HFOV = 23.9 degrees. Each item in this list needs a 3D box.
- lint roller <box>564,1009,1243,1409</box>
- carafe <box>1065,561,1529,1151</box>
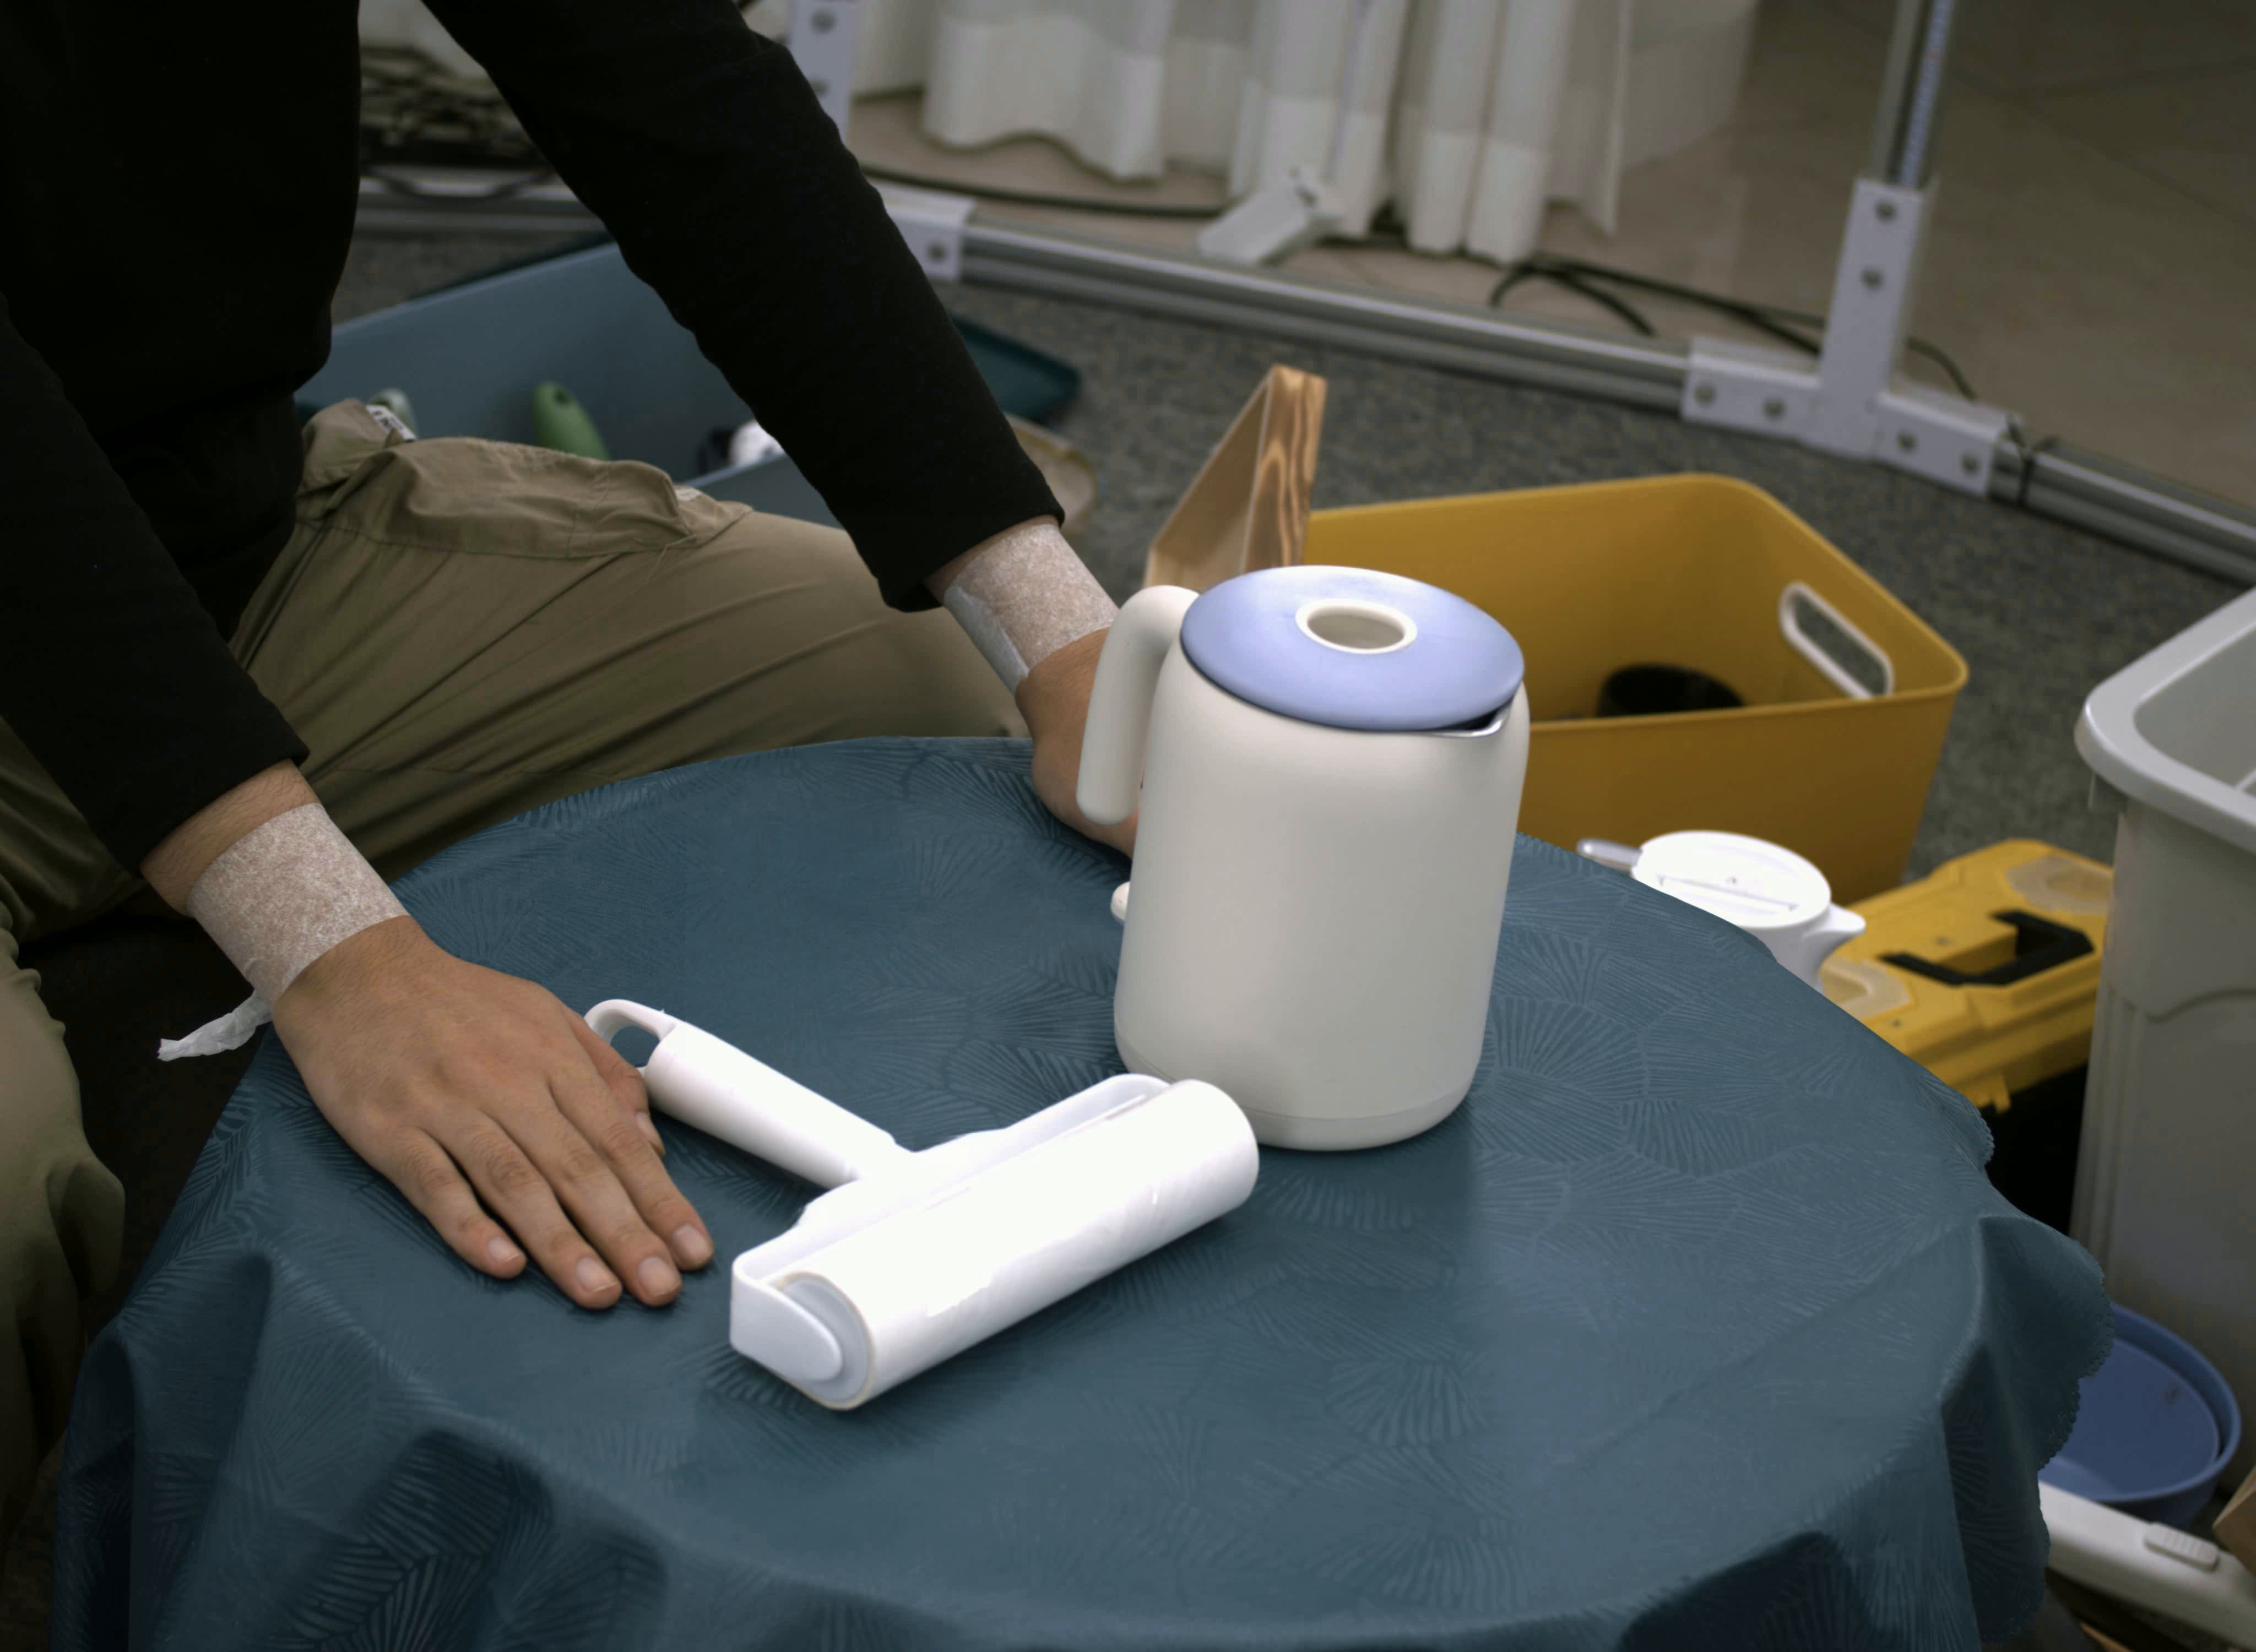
[{"bbox_3d":[-0.105,0.102,1.774,0.227,0.048,0.202,25,33,34],"label":"lint roller"},{"bbox_3d":[0.050,0.001,1.866,0.131,0.182,0.192,-18,34,-41],"label":"carafe"}]
